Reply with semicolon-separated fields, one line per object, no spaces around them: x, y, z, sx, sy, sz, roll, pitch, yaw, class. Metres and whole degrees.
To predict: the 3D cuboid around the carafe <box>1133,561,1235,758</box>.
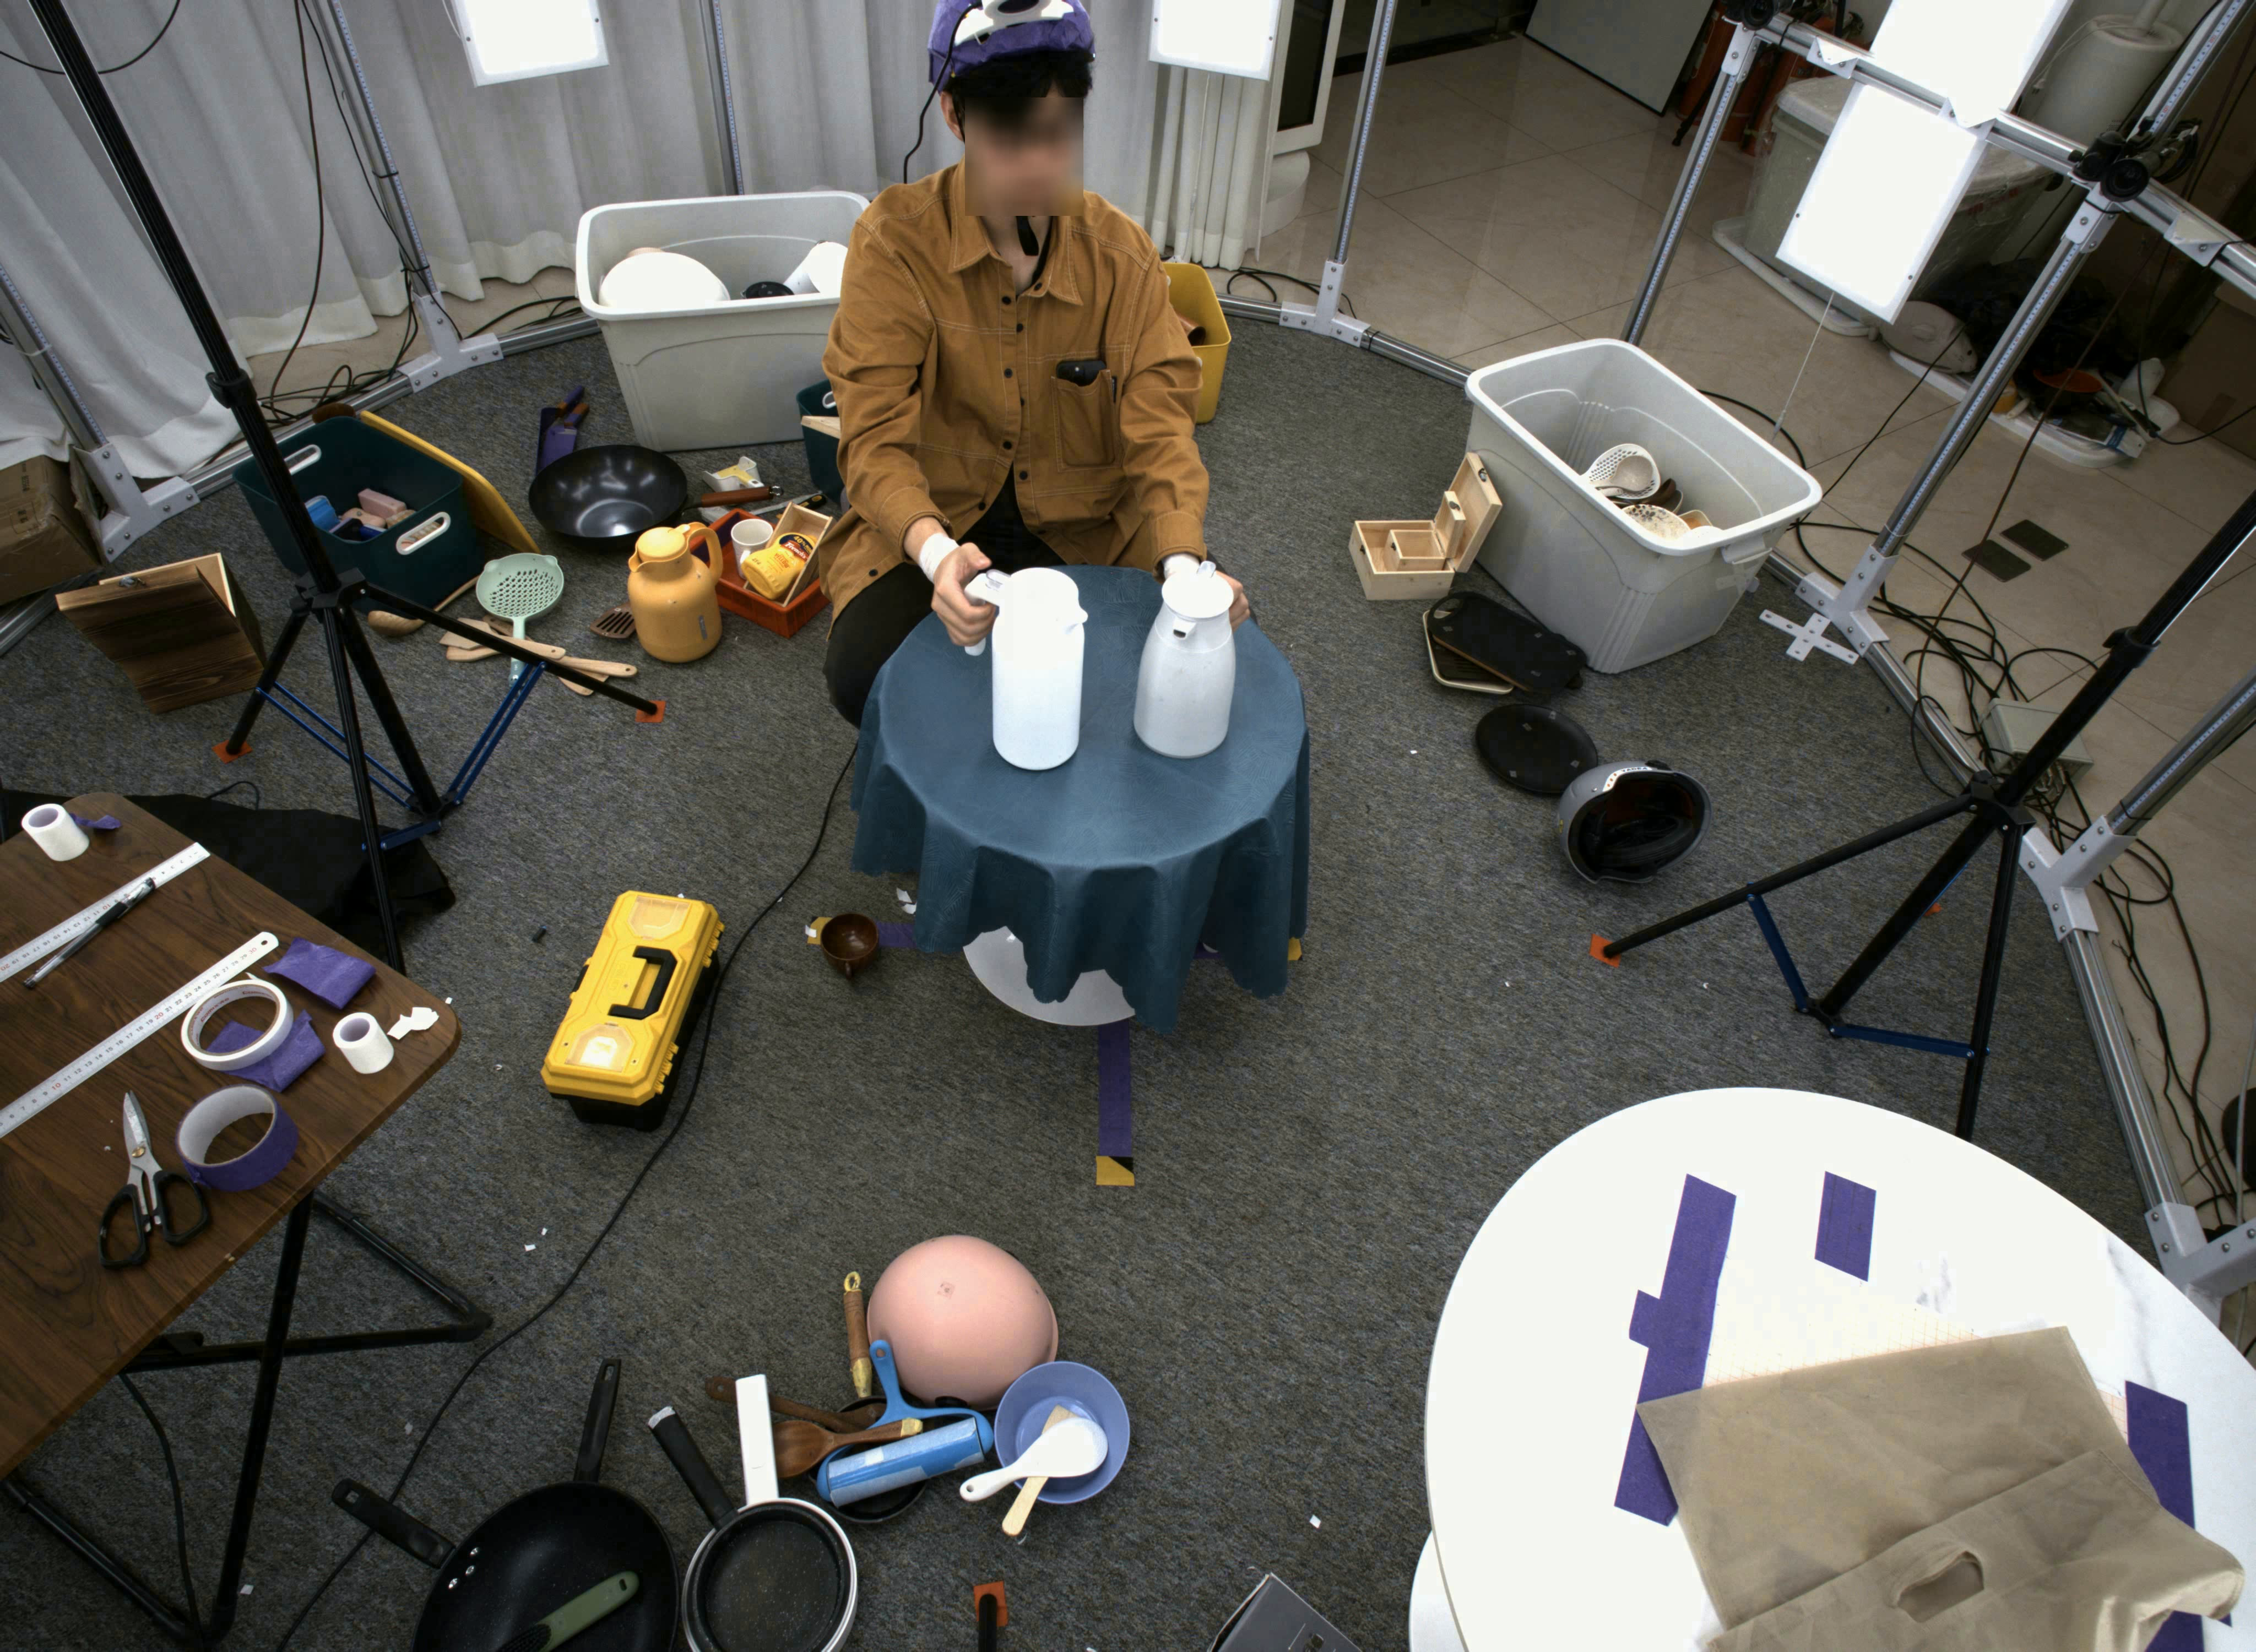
0.086;-0.235;1.718;0.133;0.242;0.171;18;50;11;carafe

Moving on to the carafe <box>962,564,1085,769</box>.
-0.135;-0.207;1.668;0.174;0.262;0.126;25;54;17;carafe
